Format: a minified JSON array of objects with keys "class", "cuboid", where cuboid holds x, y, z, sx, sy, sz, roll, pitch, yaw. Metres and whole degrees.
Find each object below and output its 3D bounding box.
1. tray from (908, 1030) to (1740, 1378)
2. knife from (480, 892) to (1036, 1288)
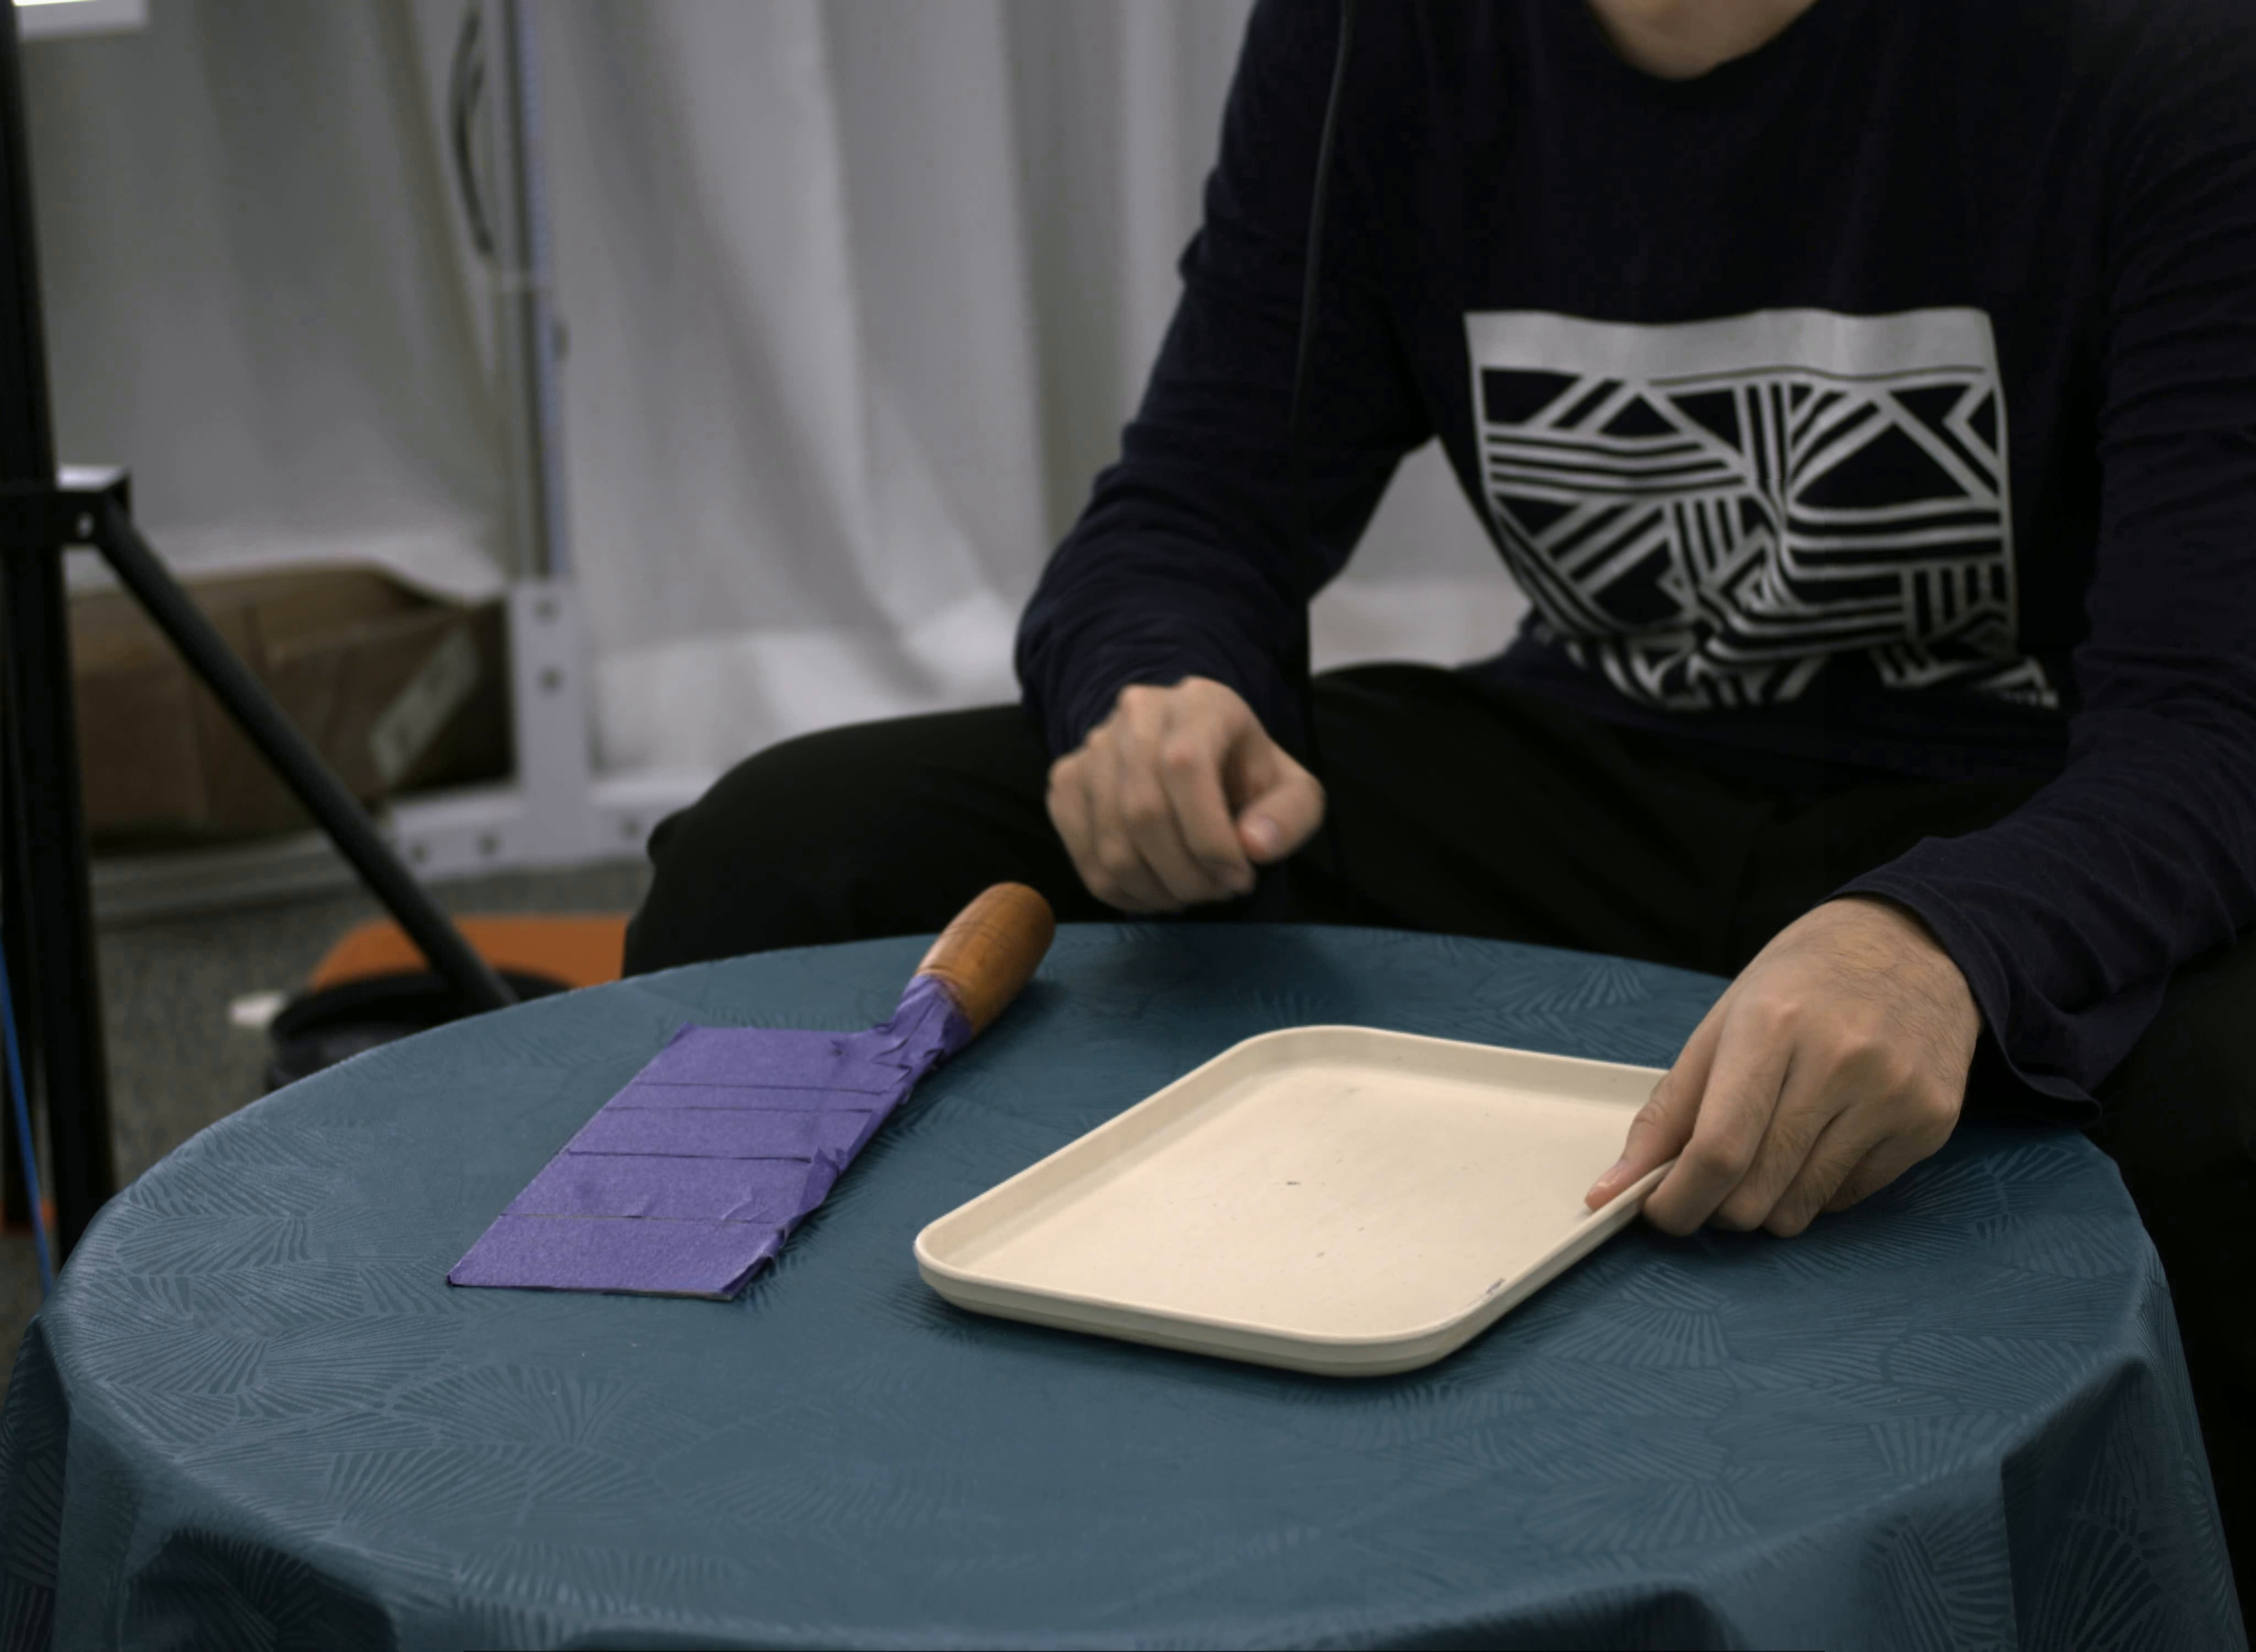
[{"class":"tray","cuboid":[0.060,0.107,1.524,0.174,0.017,0.235,6,18,32]},{"class":"knife","cuboid":[-0.111,0.078,1.637,0.104,0.032,0.313,2,17,15]}]
